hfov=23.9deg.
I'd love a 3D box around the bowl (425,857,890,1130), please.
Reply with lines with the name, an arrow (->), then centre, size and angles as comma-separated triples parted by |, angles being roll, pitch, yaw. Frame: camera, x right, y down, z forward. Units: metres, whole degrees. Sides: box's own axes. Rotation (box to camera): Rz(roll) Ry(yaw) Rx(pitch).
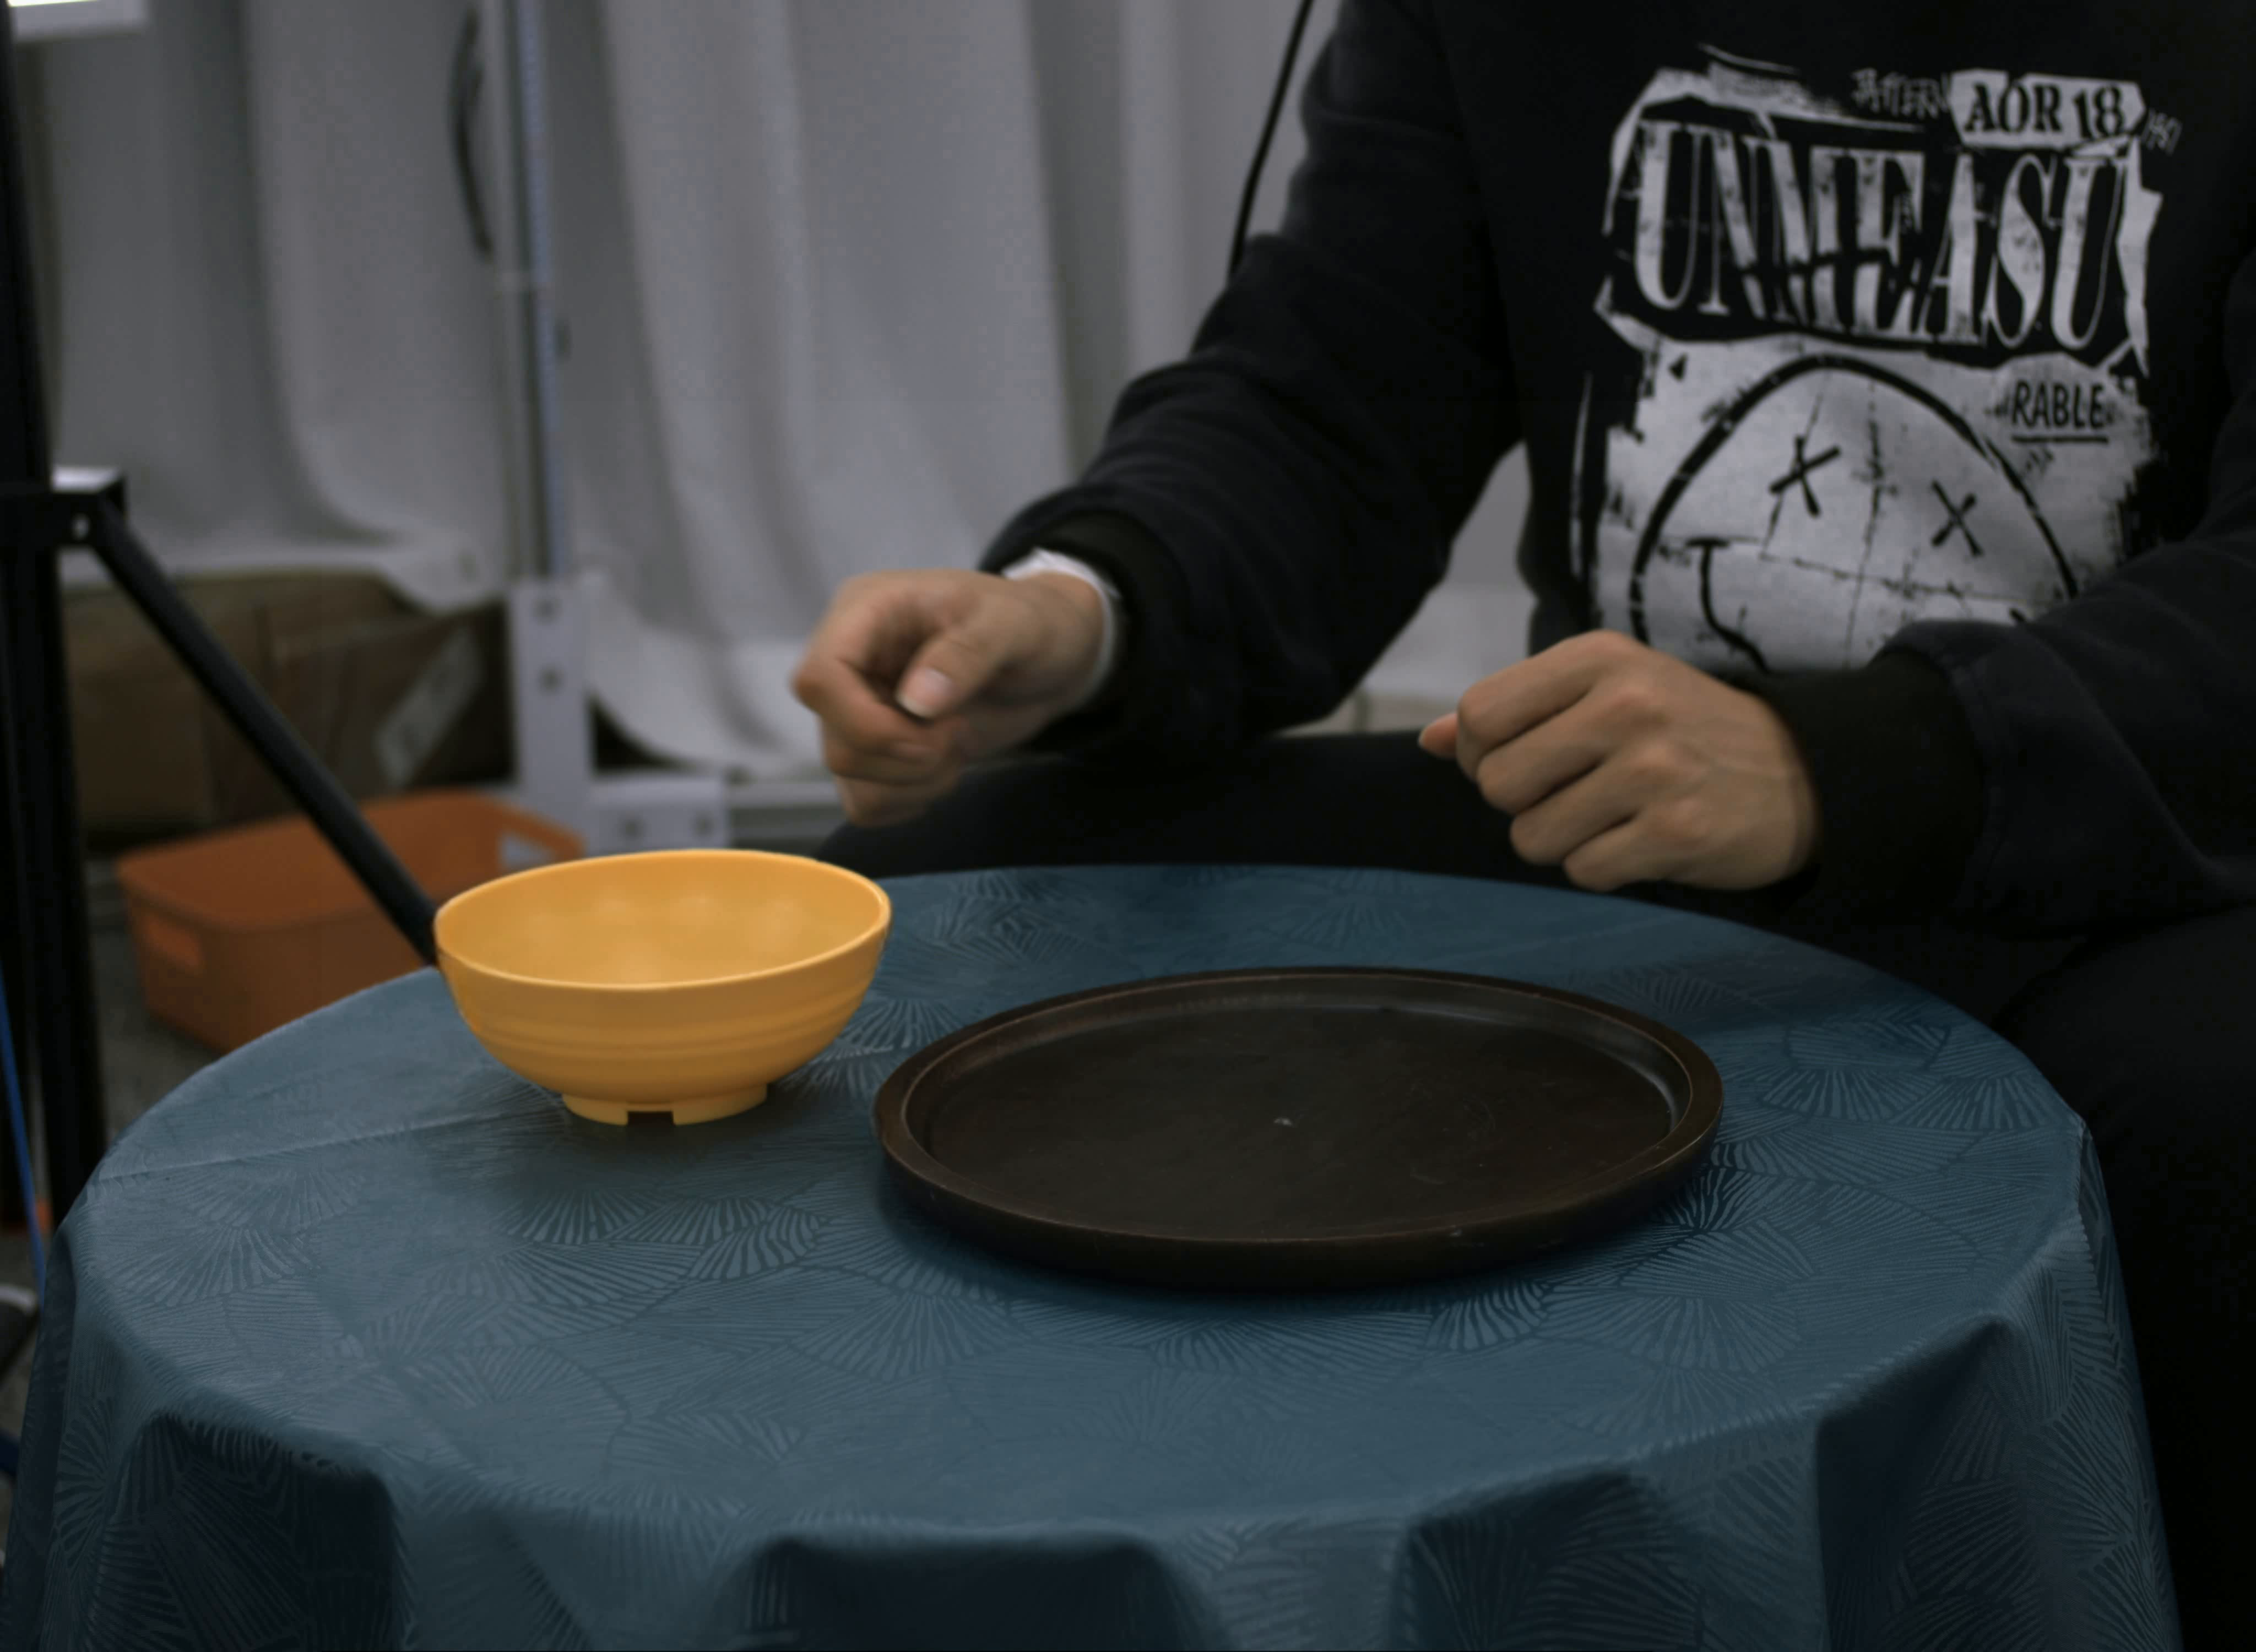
bowl -> -0.146, 0.057, 1.661 | 0.144, 0.060, 0.146 | 0, 15, -1

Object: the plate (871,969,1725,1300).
plate -> 0.051, 0.089, 1.574 | 0.253, 0.029, 0.256 | -4, 14, 0
